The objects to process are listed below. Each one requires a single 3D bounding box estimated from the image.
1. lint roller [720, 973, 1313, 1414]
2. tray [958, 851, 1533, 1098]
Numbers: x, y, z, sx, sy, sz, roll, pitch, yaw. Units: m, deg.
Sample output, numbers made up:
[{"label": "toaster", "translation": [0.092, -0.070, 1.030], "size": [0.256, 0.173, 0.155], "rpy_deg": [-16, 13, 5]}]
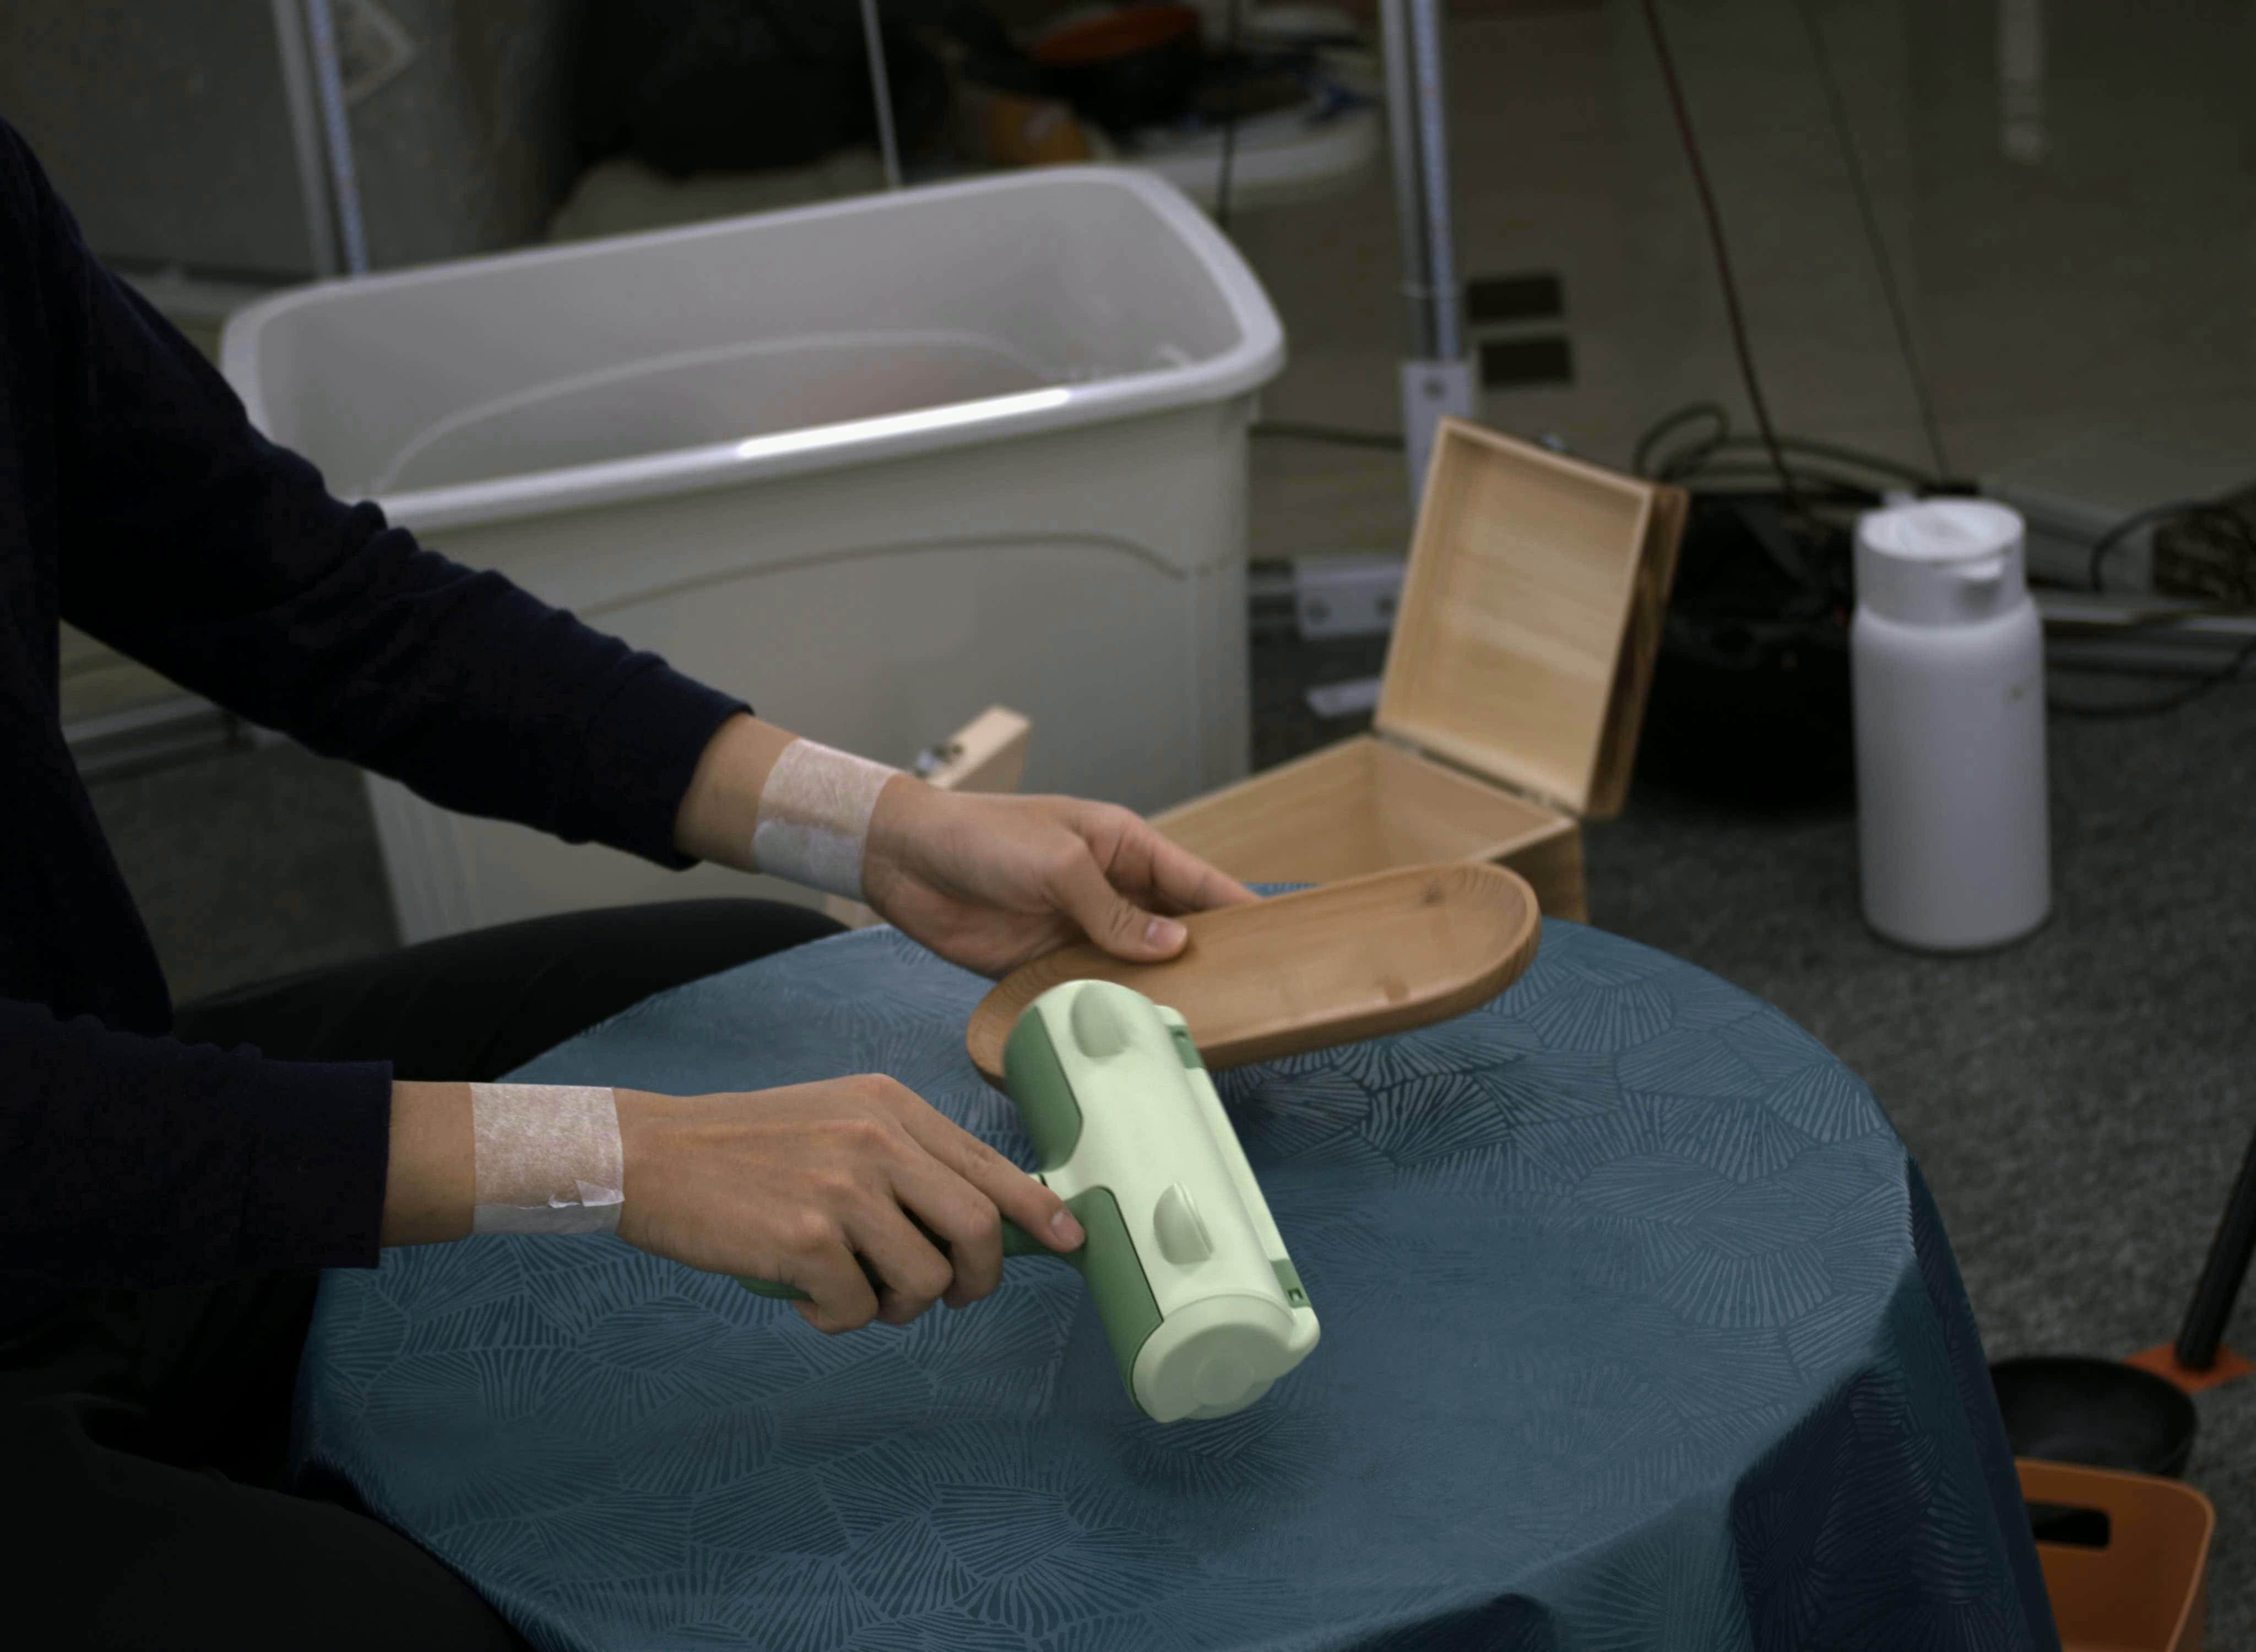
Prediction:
[{"label": "lint roller", "translation": [-0.048, 0.119, 1.967], "size": [0.183, 0.083, 0.195], "rpy_deg": [2, 35, -22]}, {"label": "tray", "translation": [0.045, 0.059, 2.183], "size": [0.231, 0.020, 0.100], "rpy_deg": [-15, 28, 14]}]
